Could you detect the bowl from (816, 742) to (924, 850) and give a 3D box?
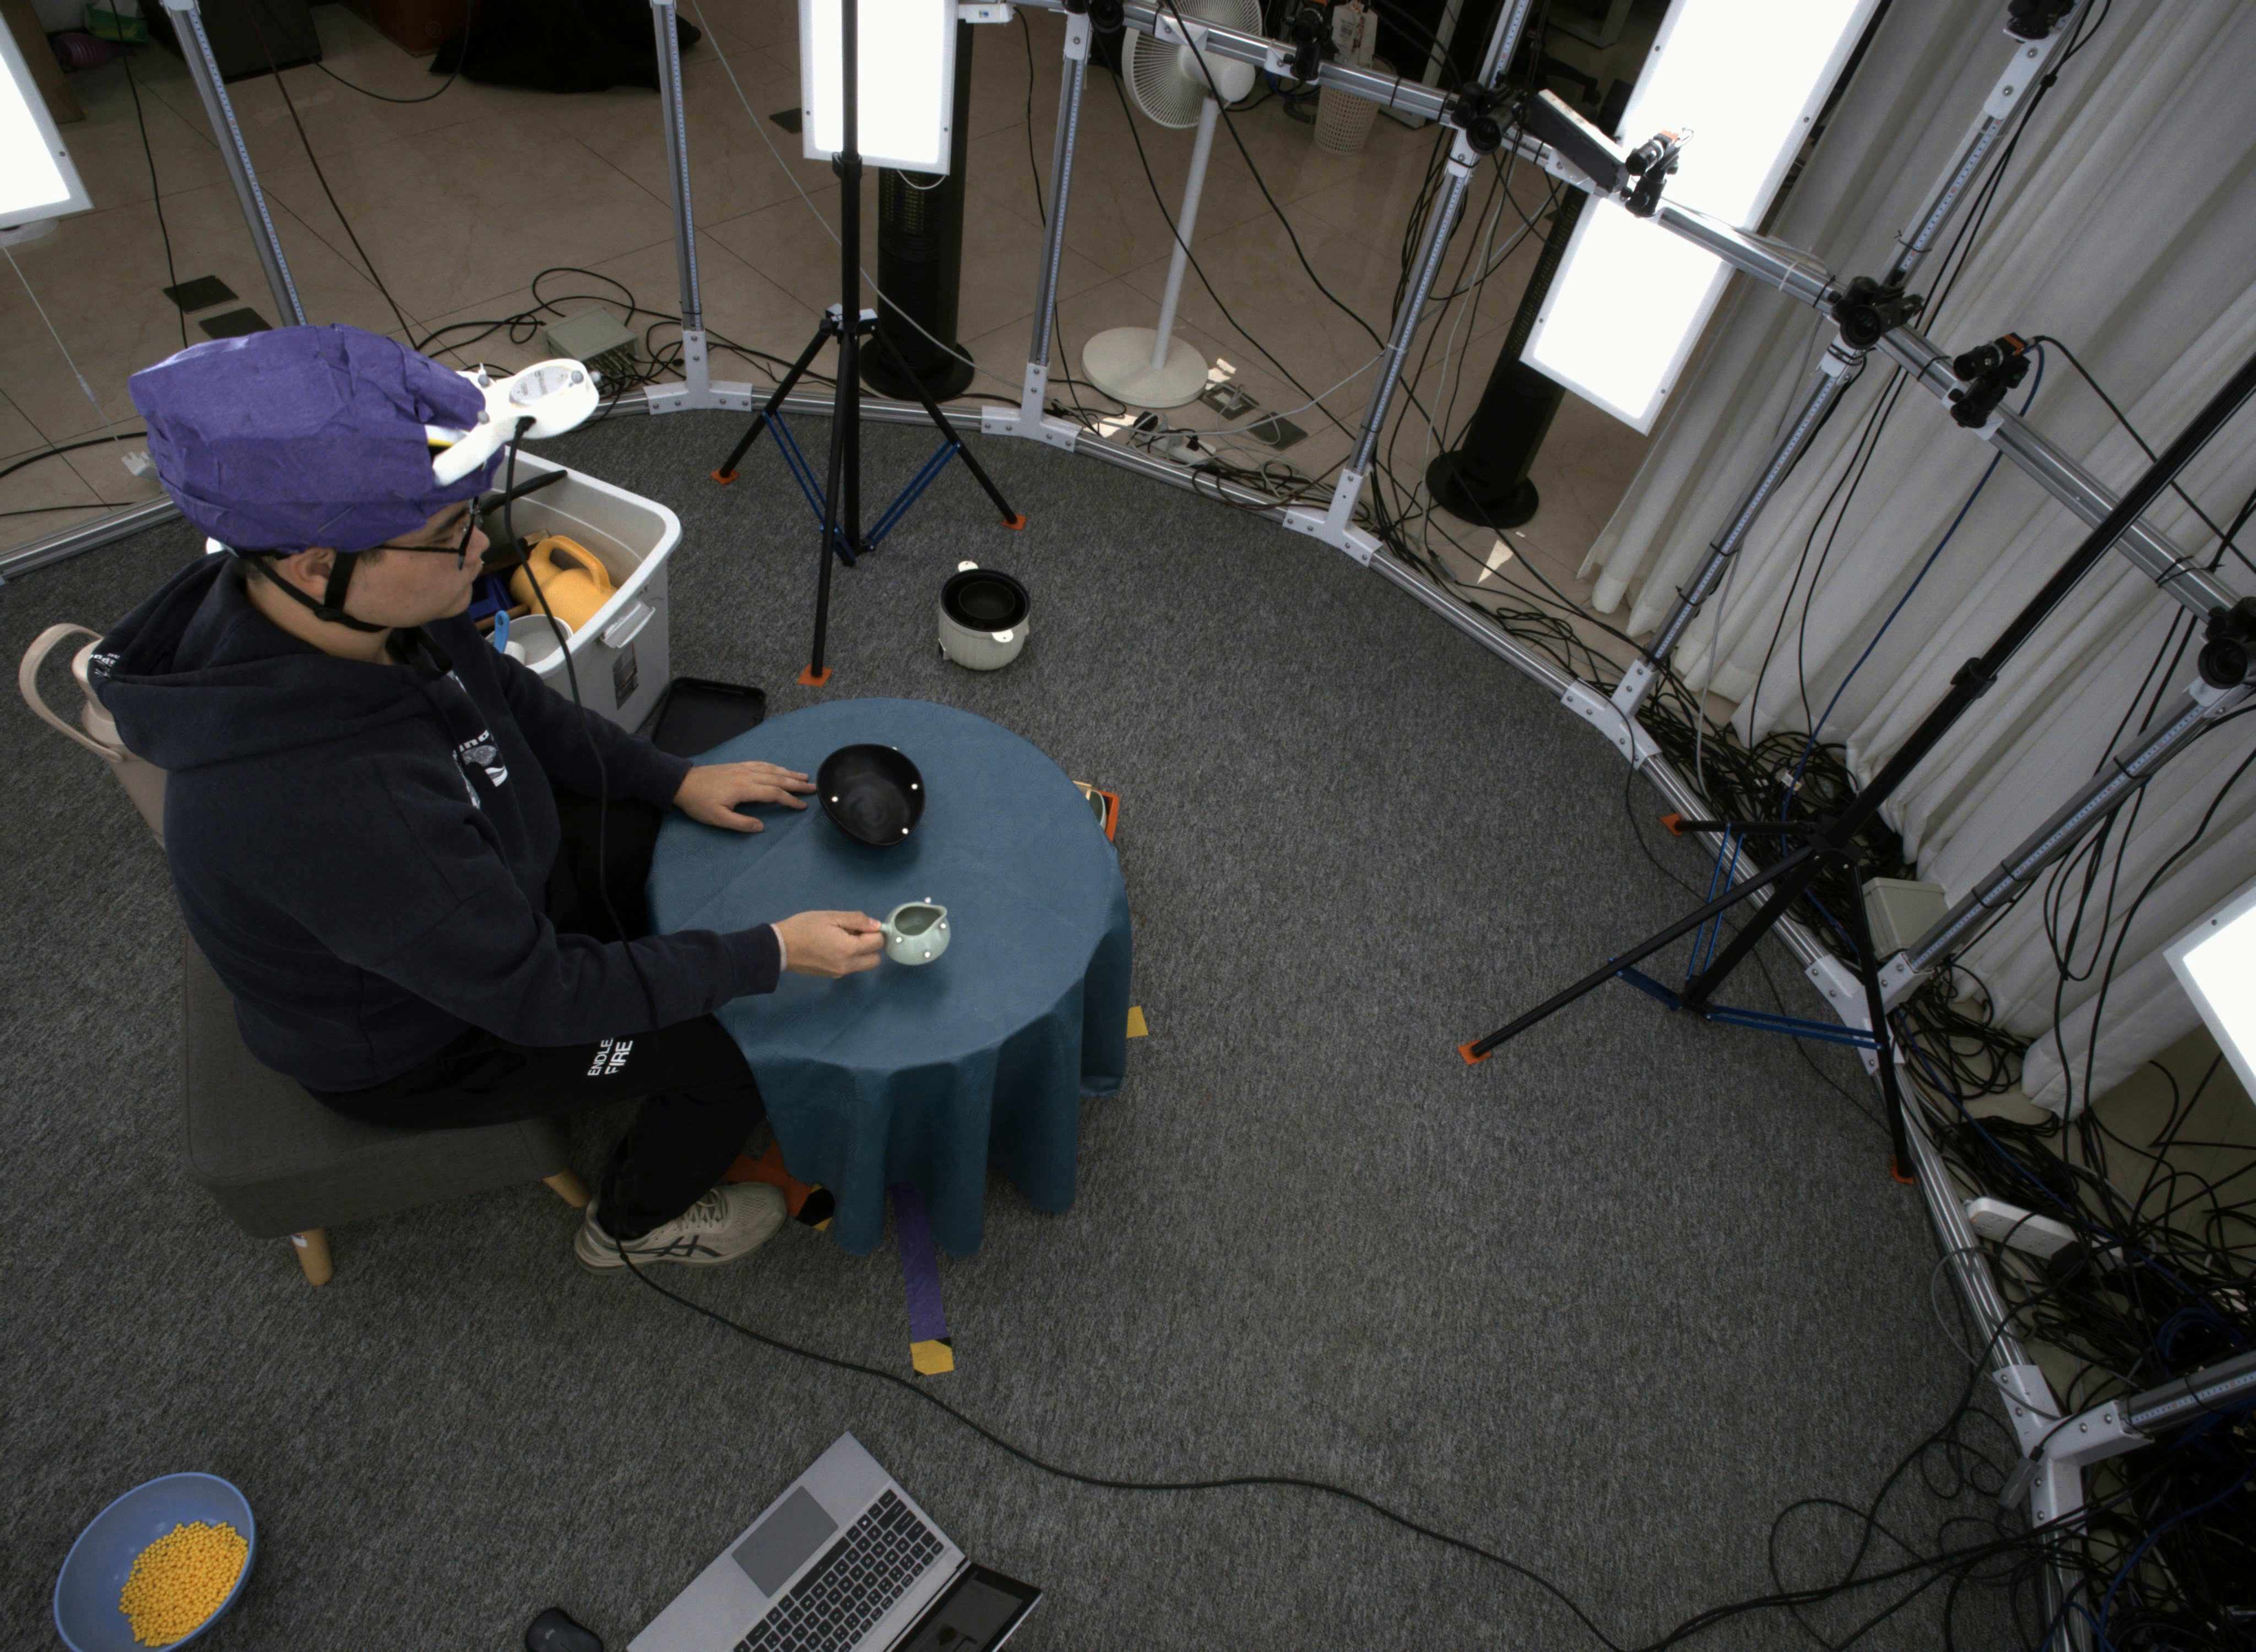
[{"bbox_3d":[-0.340,-0.032,1.725,0.138,0.068,0.166,-19,61,-24],"label":"bowl"}]

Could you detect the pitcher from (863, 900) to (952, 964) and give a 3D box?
[{"bbox_3d":[-0.266,0.126,1.571,0.108,0.062,0.083,-17,55,-16],"label":"pitcher"}]
